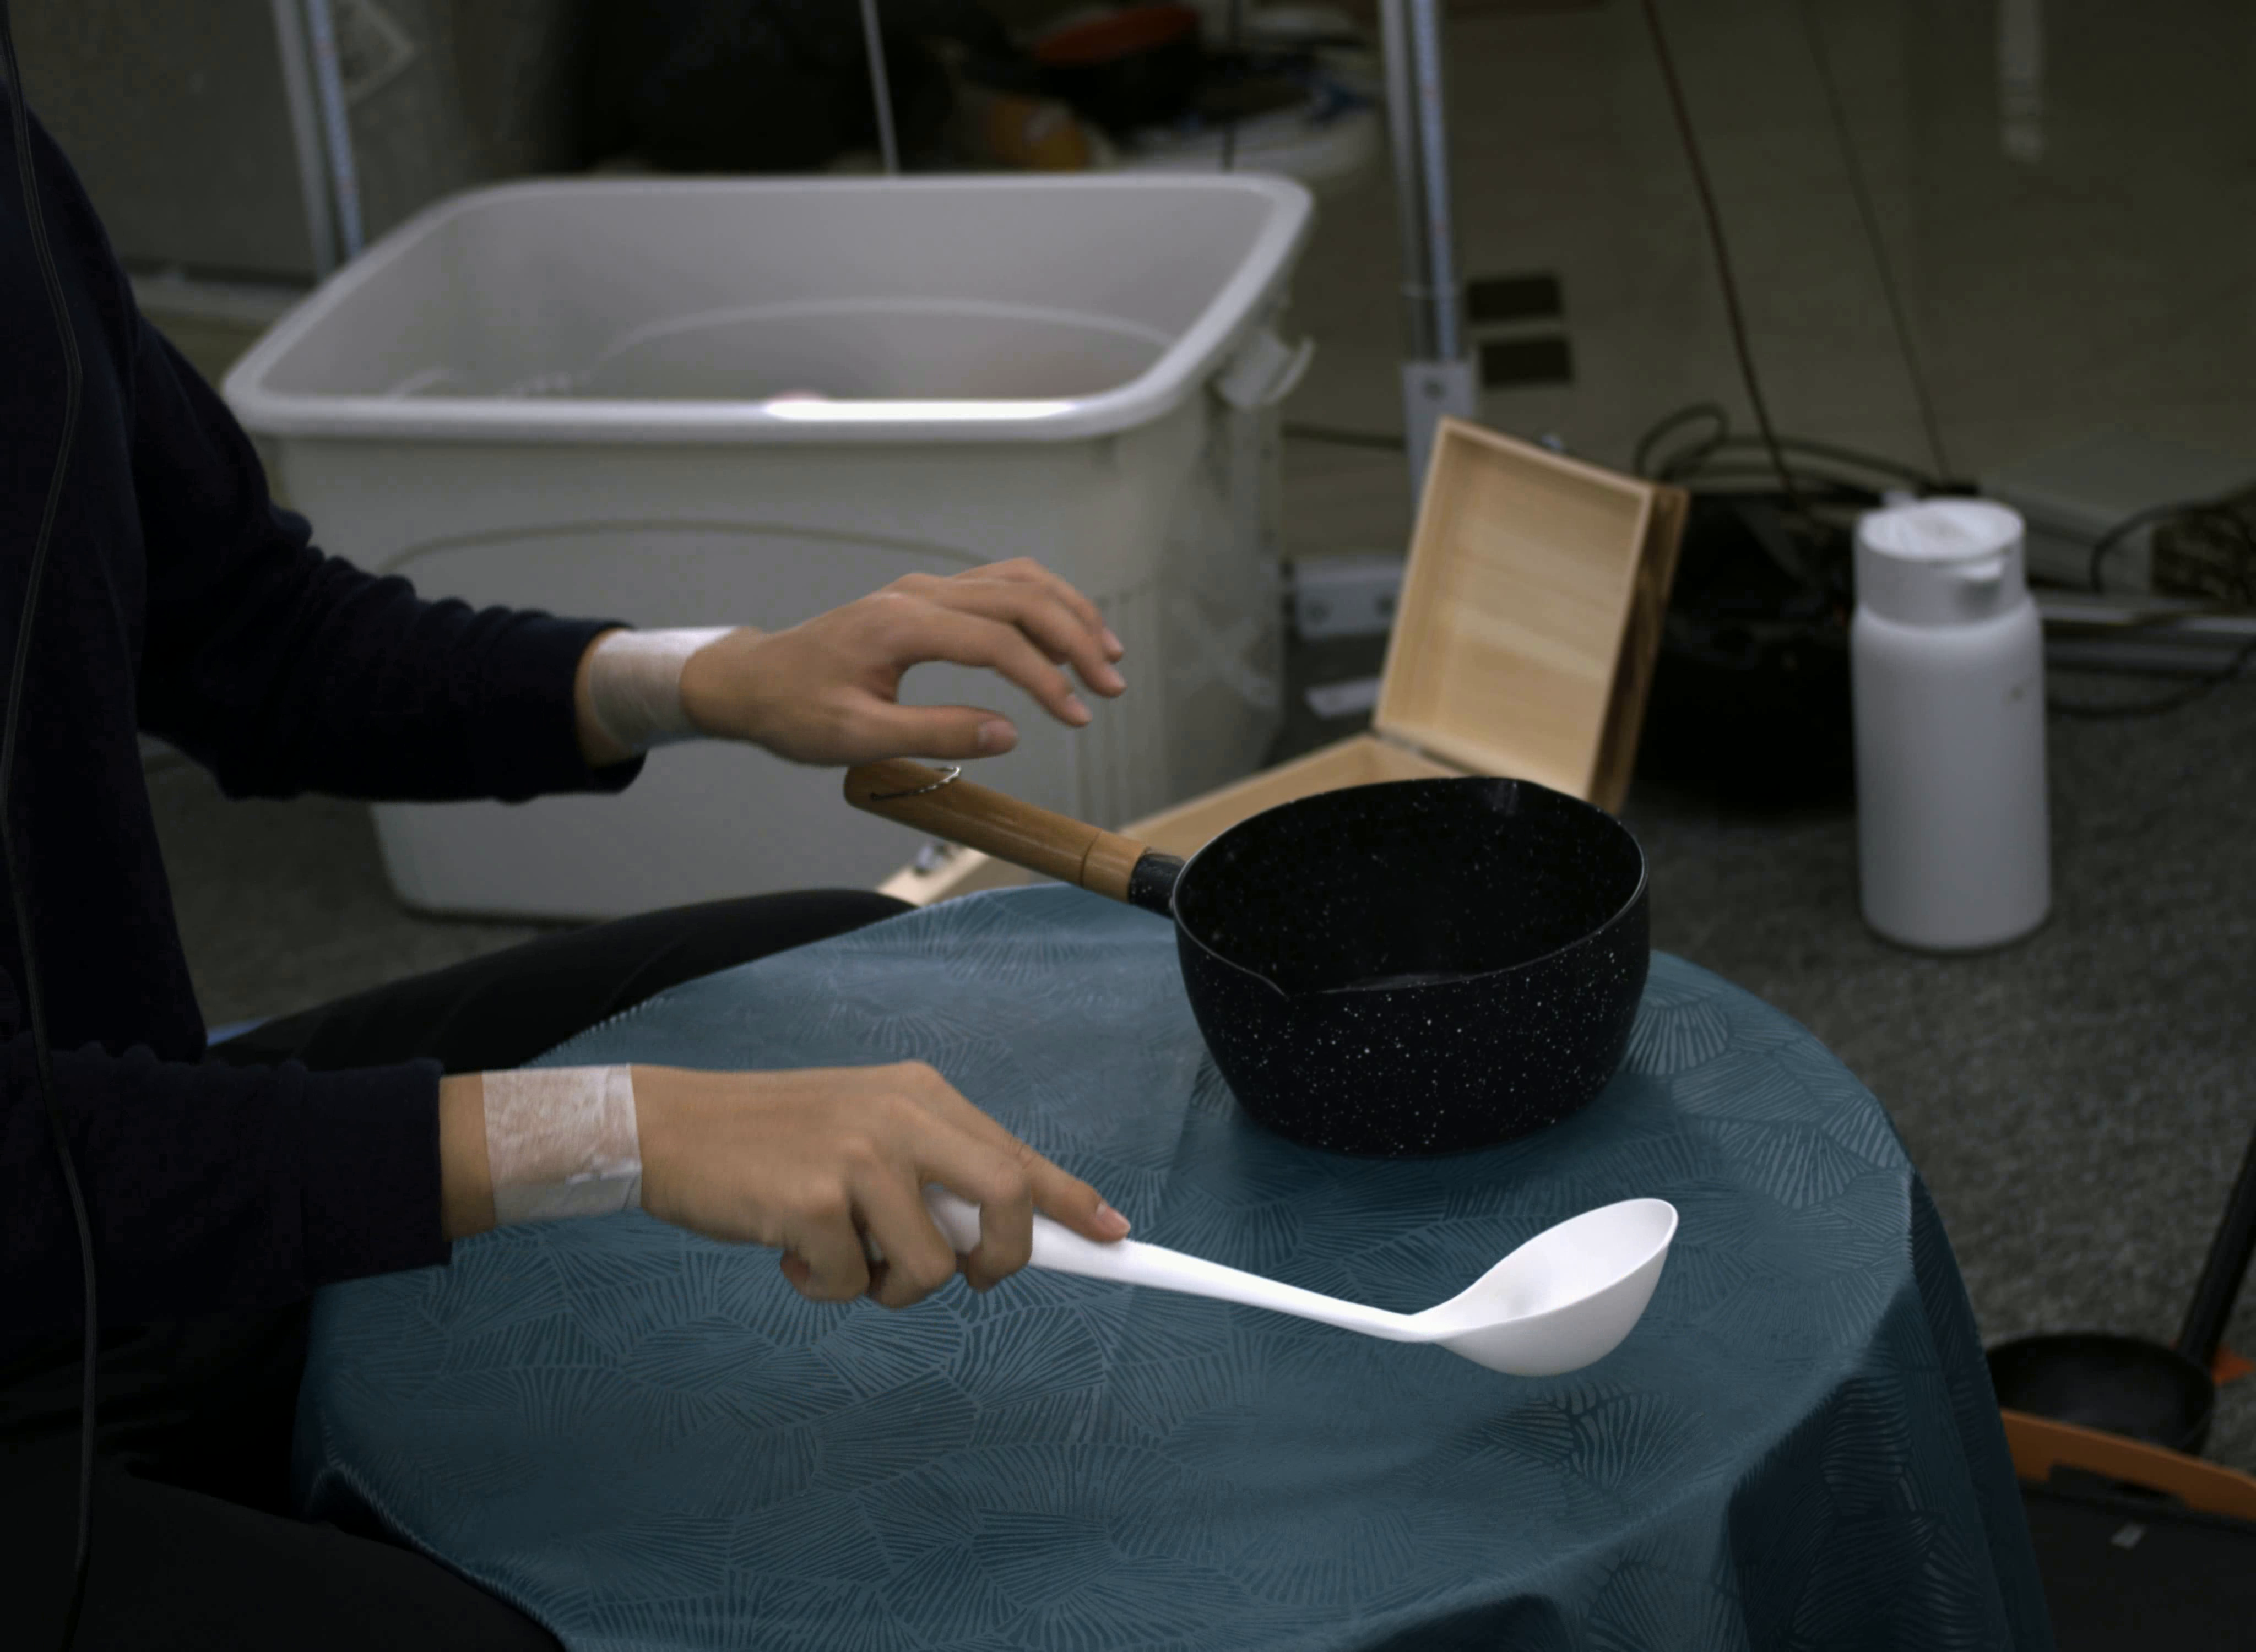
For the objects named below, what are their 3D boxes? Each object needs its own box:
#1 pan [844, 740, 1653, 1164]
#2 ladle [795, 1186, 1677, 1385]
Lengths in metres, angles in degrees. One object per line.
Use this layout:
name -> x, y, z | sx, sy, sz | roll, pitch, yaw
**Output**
pan -> 0.041, 0.038, 2.223 | 0.341, 0.110, 0.205 | 8, 30, 26
ladle -> 0.036, 0.142, 1.922 | 0.292, 0.071, 0.089 | 8, 22, -3
